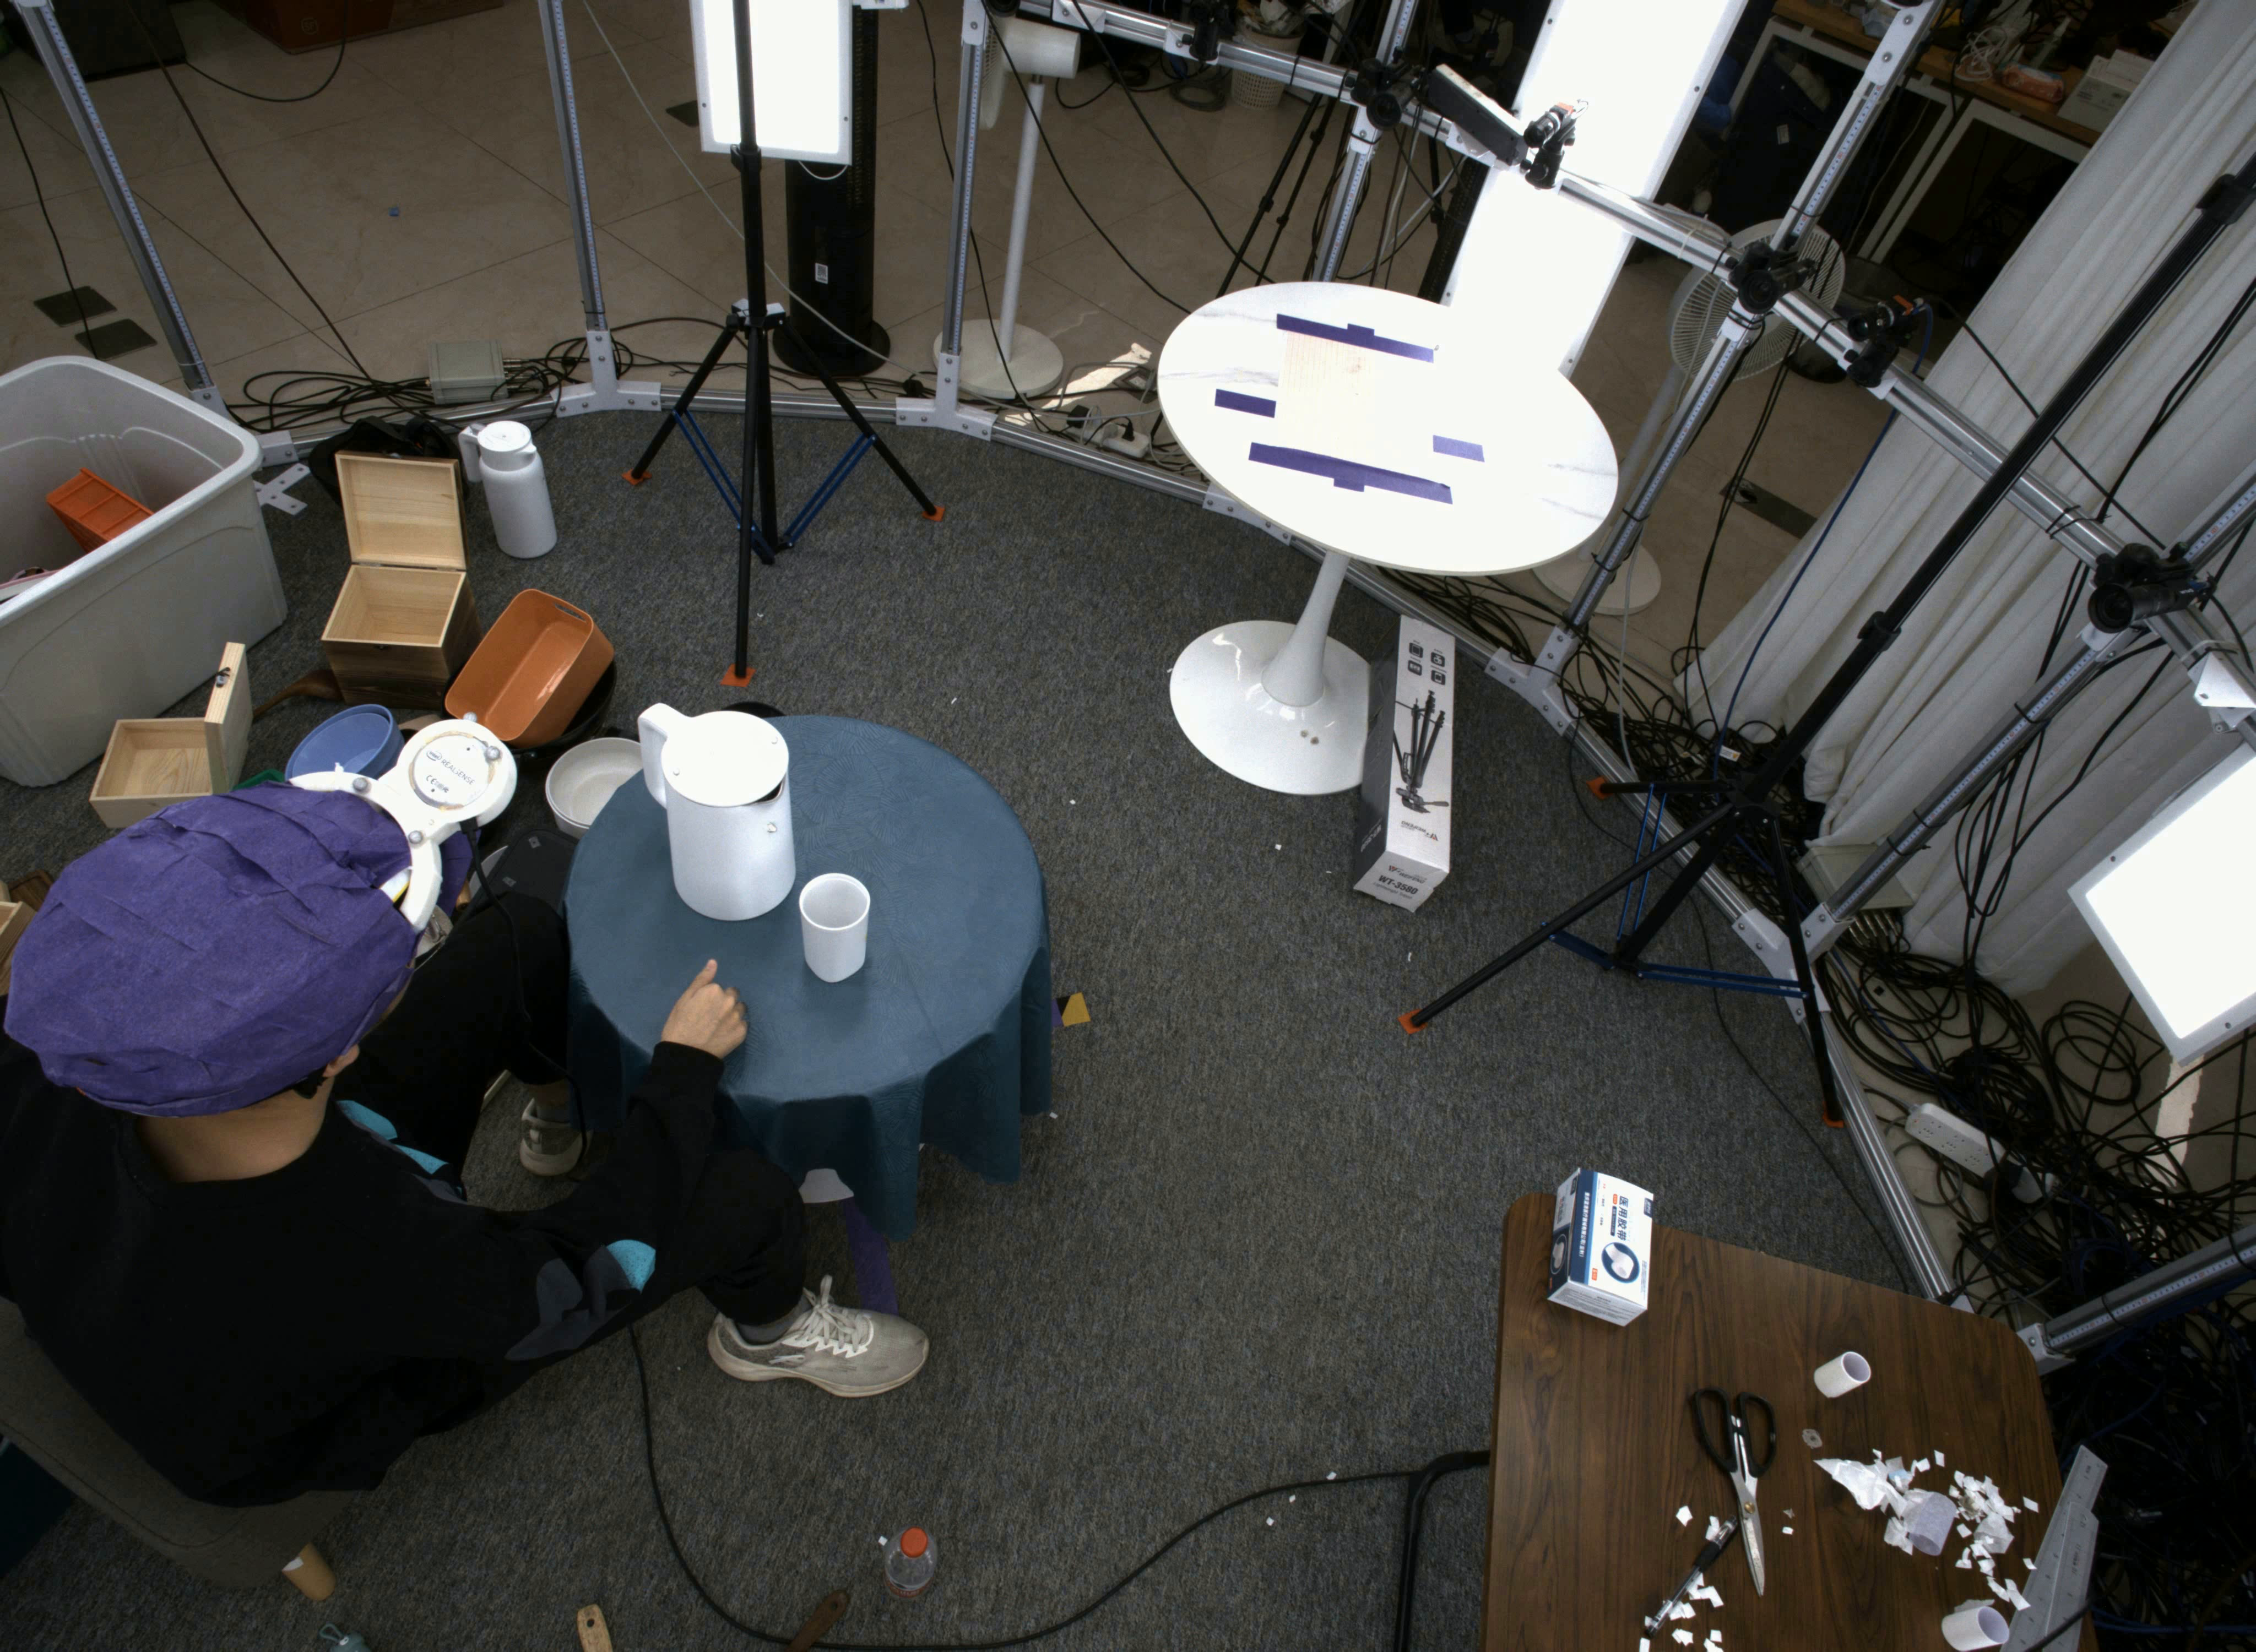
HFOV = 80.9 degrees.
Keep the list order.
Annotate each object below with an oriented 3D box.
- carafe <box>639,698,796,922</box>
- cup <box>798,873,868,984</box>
[{"bbox_3d":[-0.506,-0.028,1.579,0.209,0.245,0.152,33,52,12],"label":"carafe"},{"bbox_3d":[-0.356,0.125,1.576,0.081,0.128,0.080,6,52,-7],"label":"cup"}]
